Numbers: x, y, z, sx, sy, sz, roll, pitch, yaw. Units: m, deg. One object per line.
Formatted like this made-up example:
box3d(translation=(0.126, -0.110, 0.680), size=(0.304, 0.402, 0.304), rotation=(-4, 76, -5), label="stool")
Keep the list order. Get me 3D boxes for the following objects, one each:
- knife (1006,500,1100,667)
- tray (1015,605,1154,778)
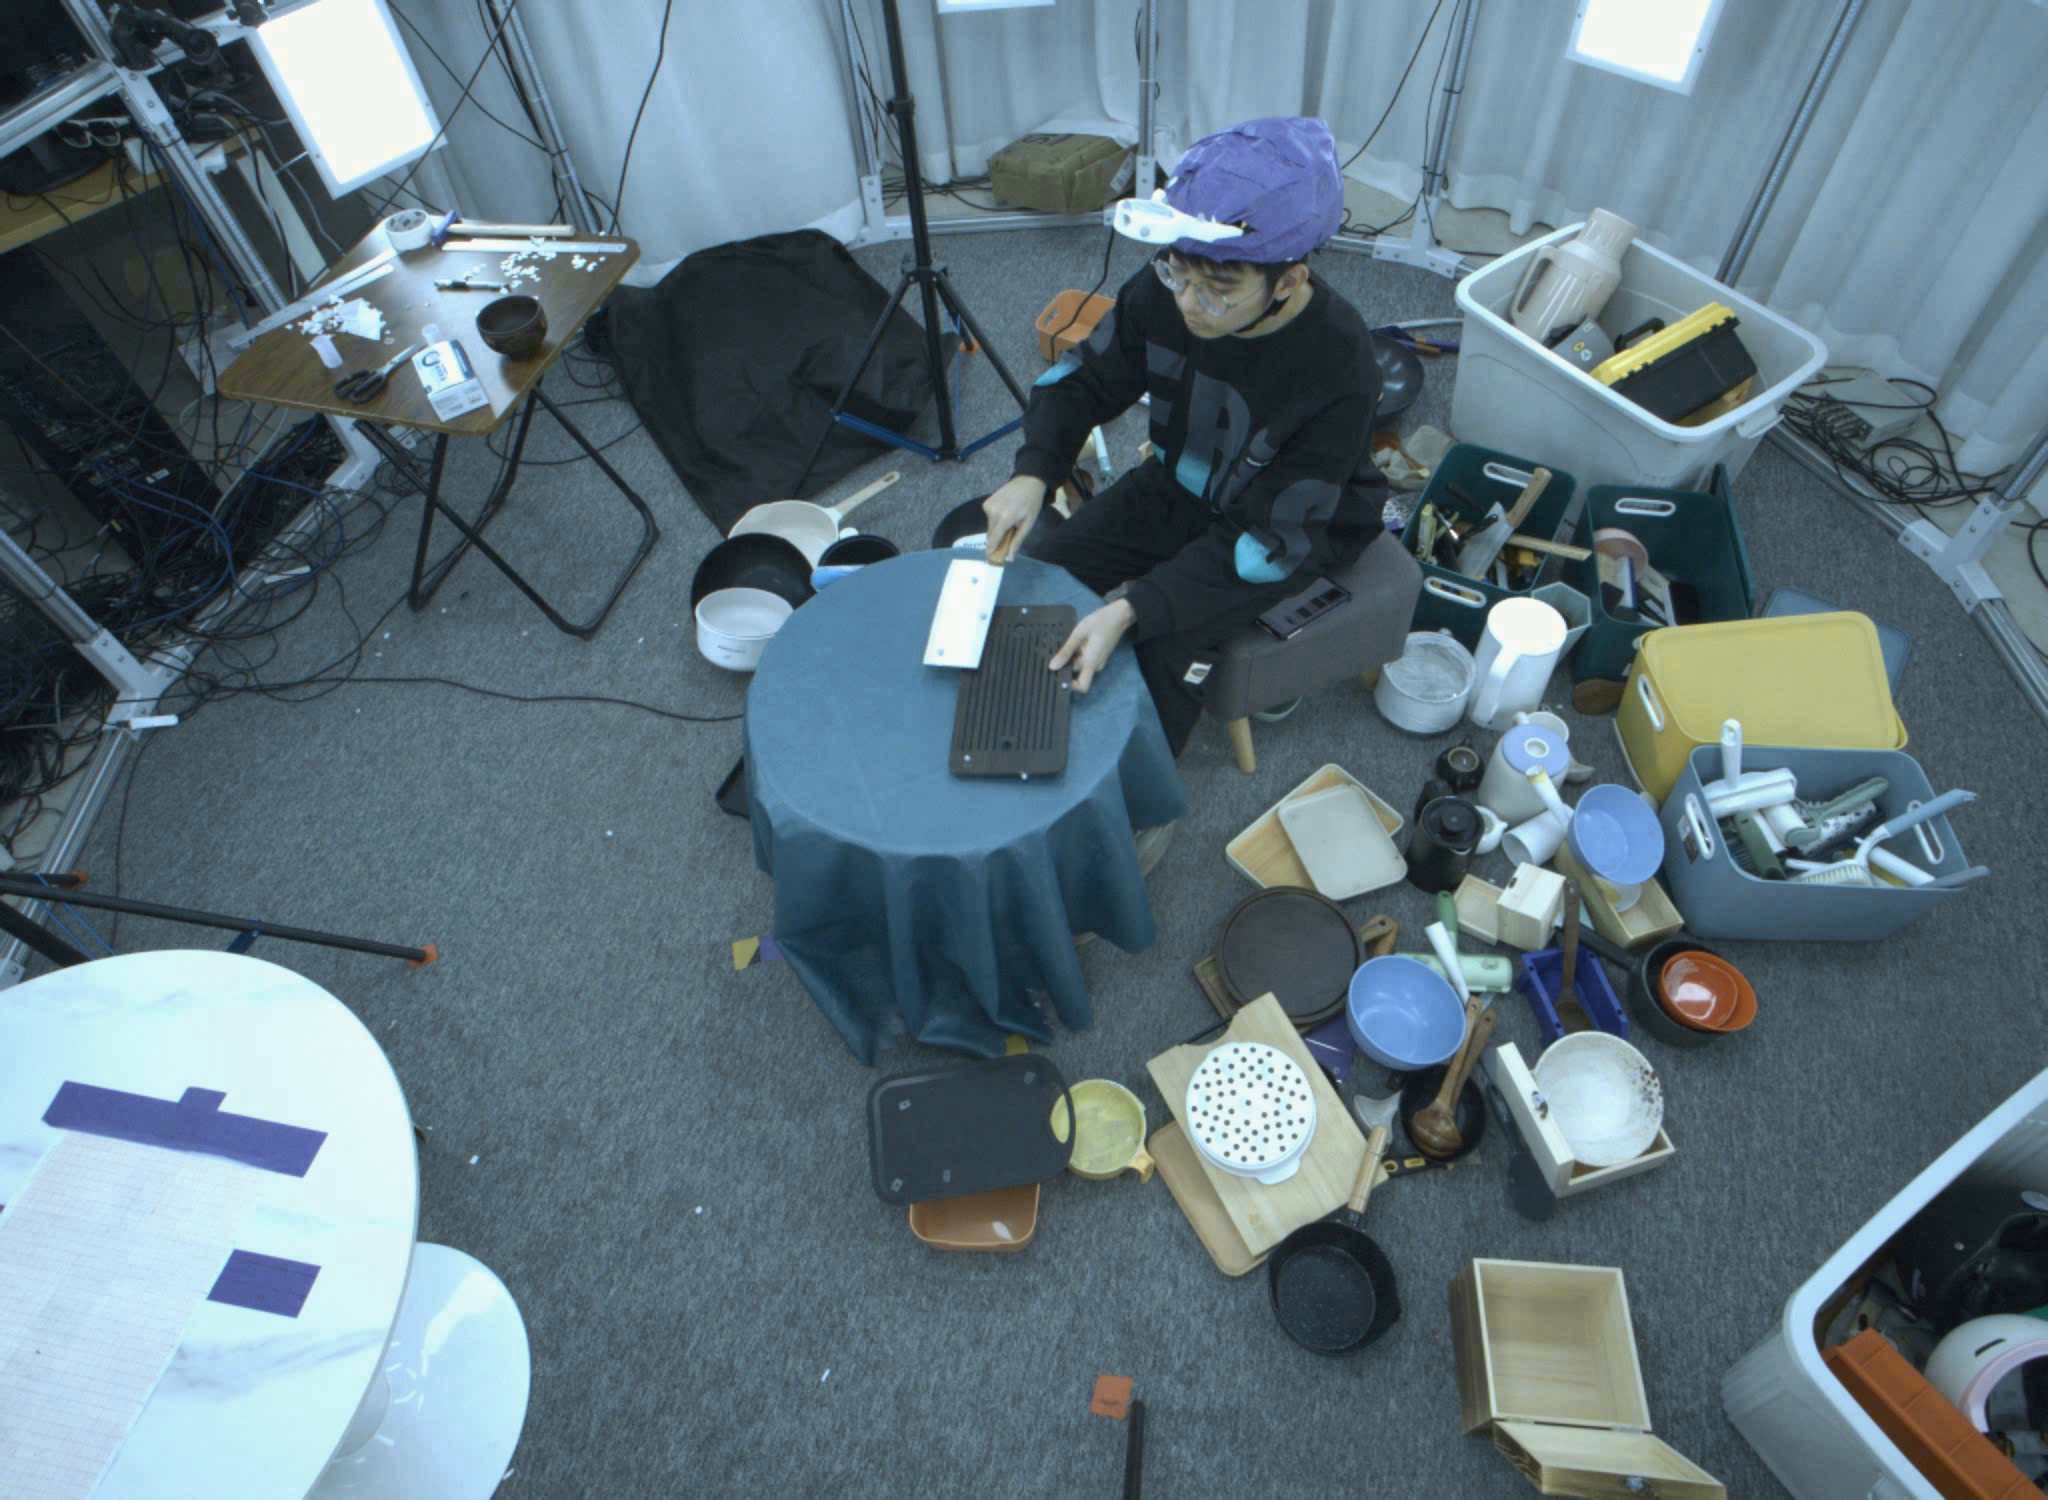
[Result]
box3d(translation=(0.041, -0.262, 1.893), size=(0.092, 0.021, 0.305), rotation=(10, 68, 18), label="knife")
box3d(translation=(0.093, -0.090, 1.819), size=(0.169, 0.019, 0.304), rotation=(4, 58, 11), label="tray")
